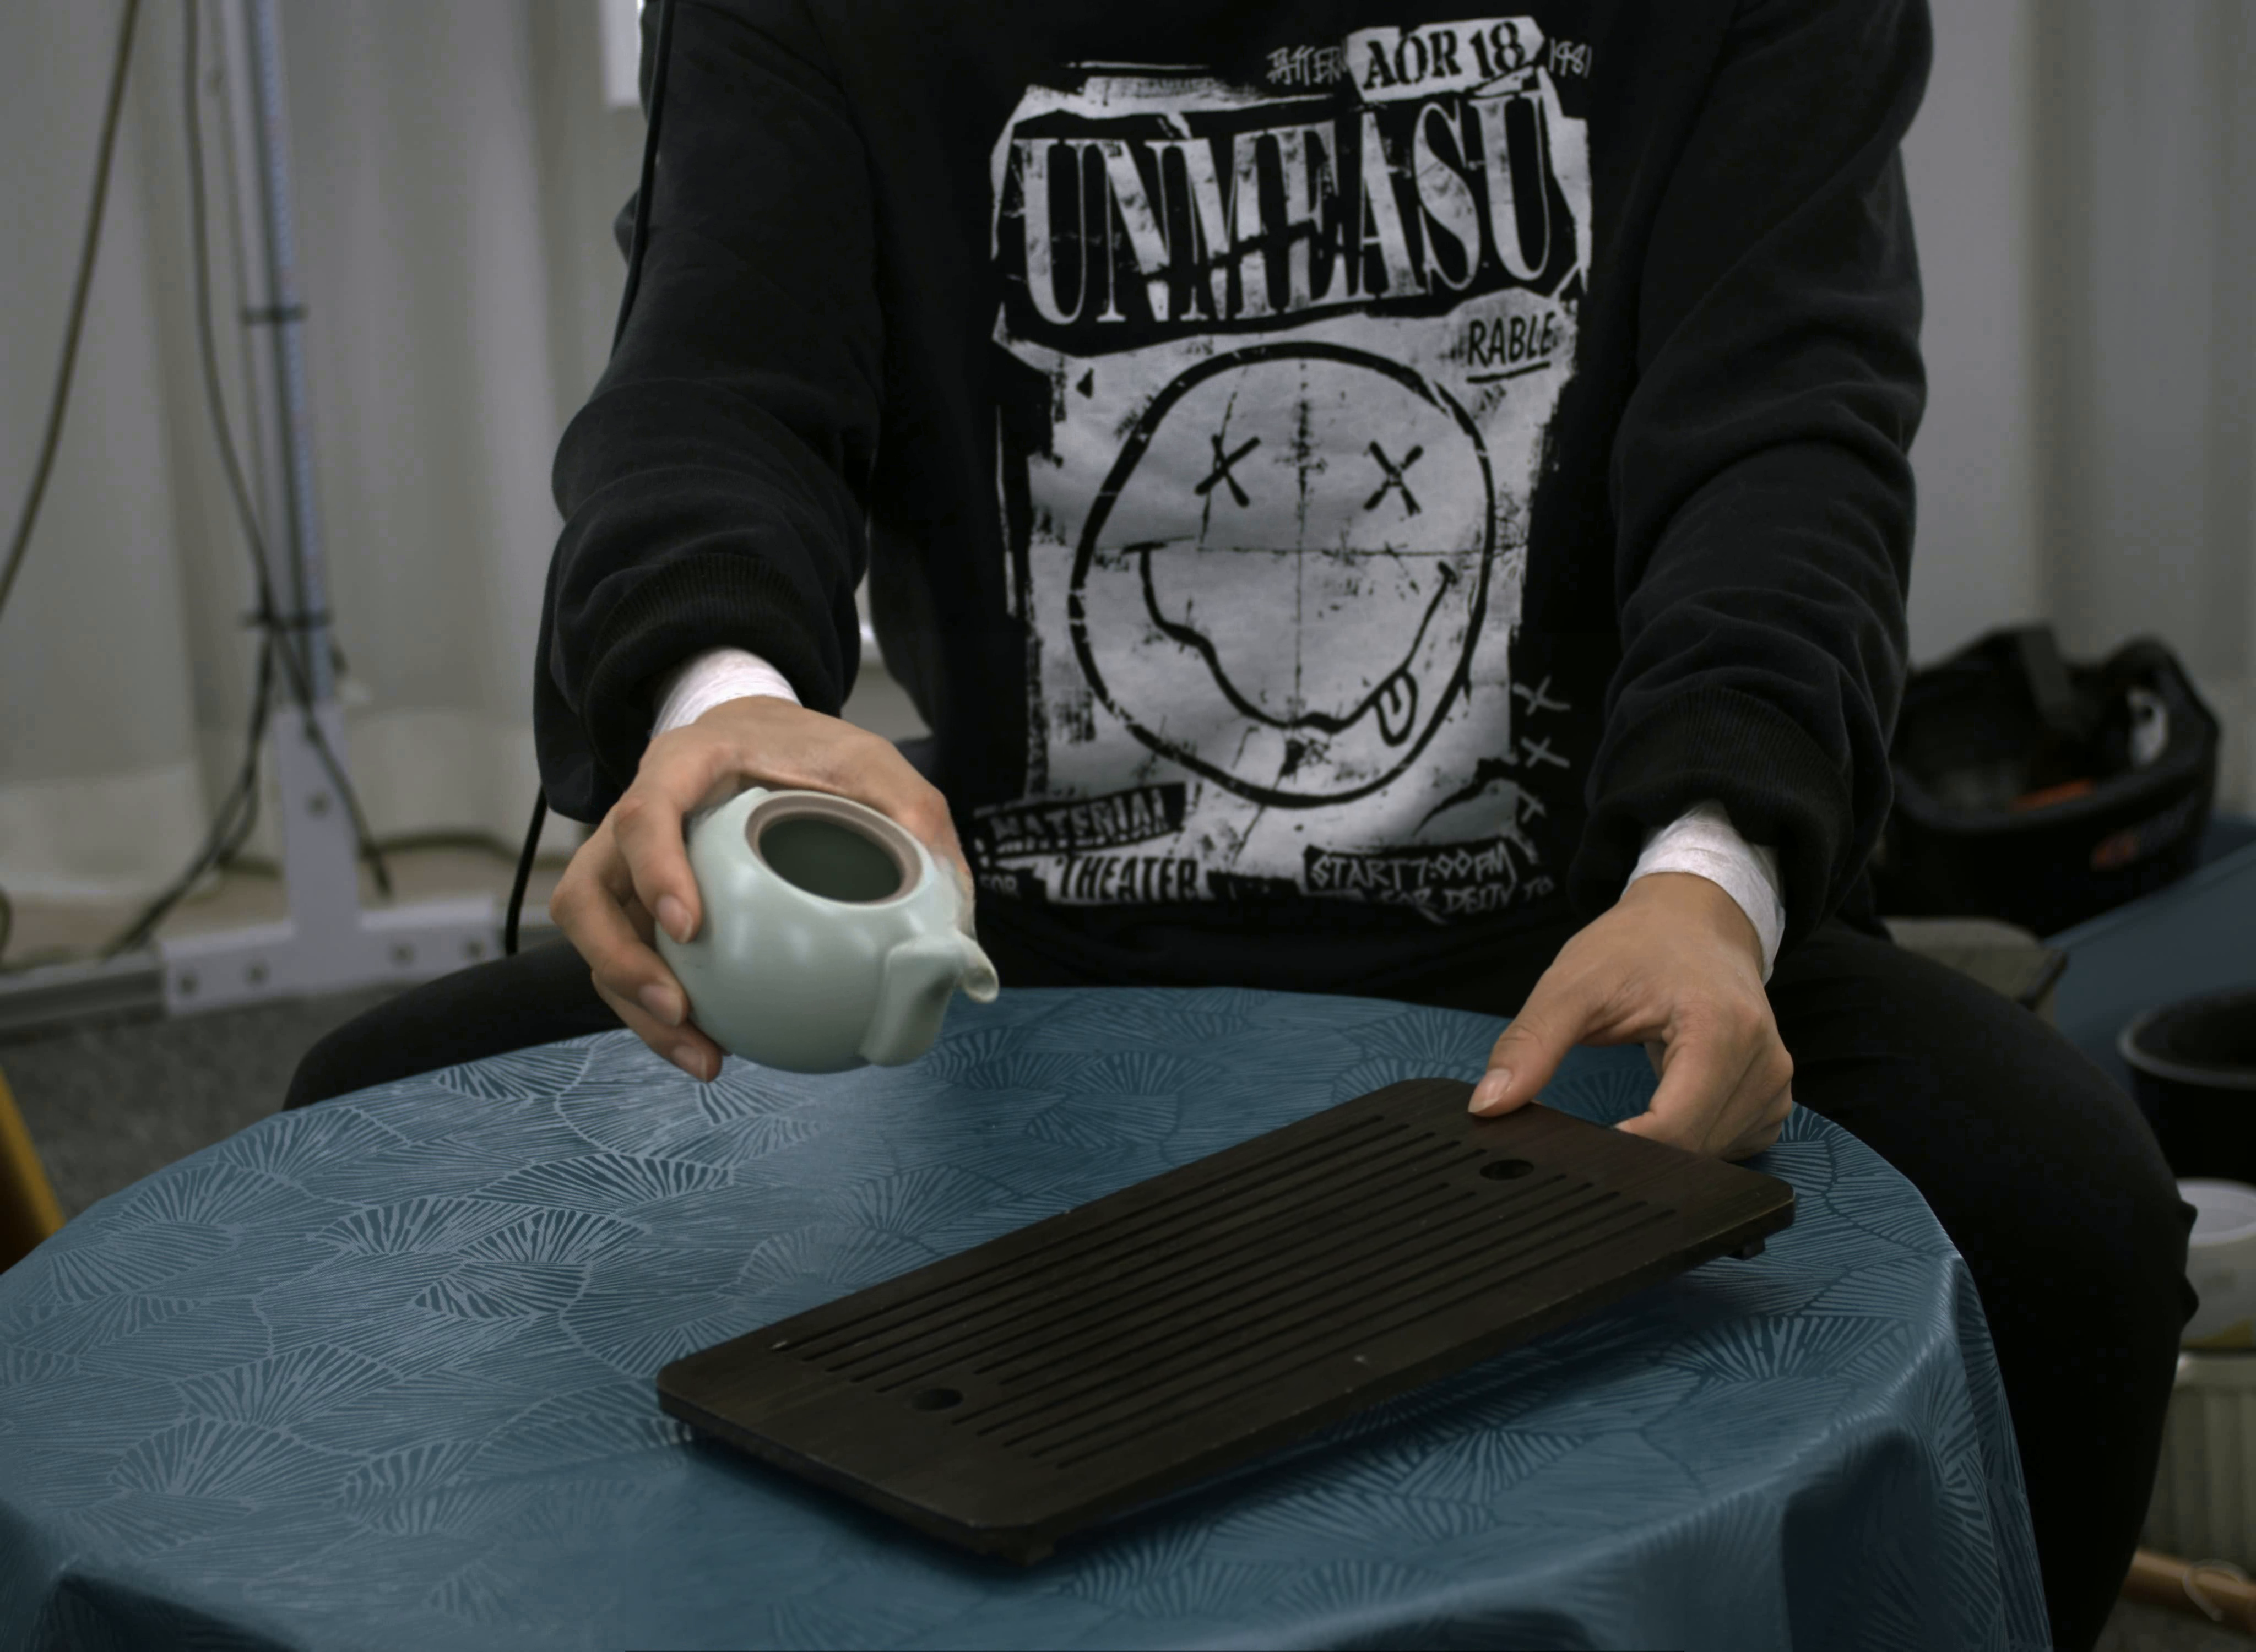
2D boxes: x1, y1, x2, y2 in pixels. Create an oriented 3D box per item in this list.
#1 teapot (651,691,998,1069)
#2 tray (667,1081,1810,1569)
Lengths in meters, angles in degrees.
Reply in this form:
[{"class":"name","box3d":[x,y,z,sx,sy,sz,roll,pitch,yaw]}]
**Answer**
[{"class":"teapot","box3d":[-0.094,0.028,1.591,0.088,0.074,0.145,-12,45,-42]},{"class":"tray","box3d":[0.035,0.138,1.555,0.305,0.018,0.171,-18,21,-36]}]
